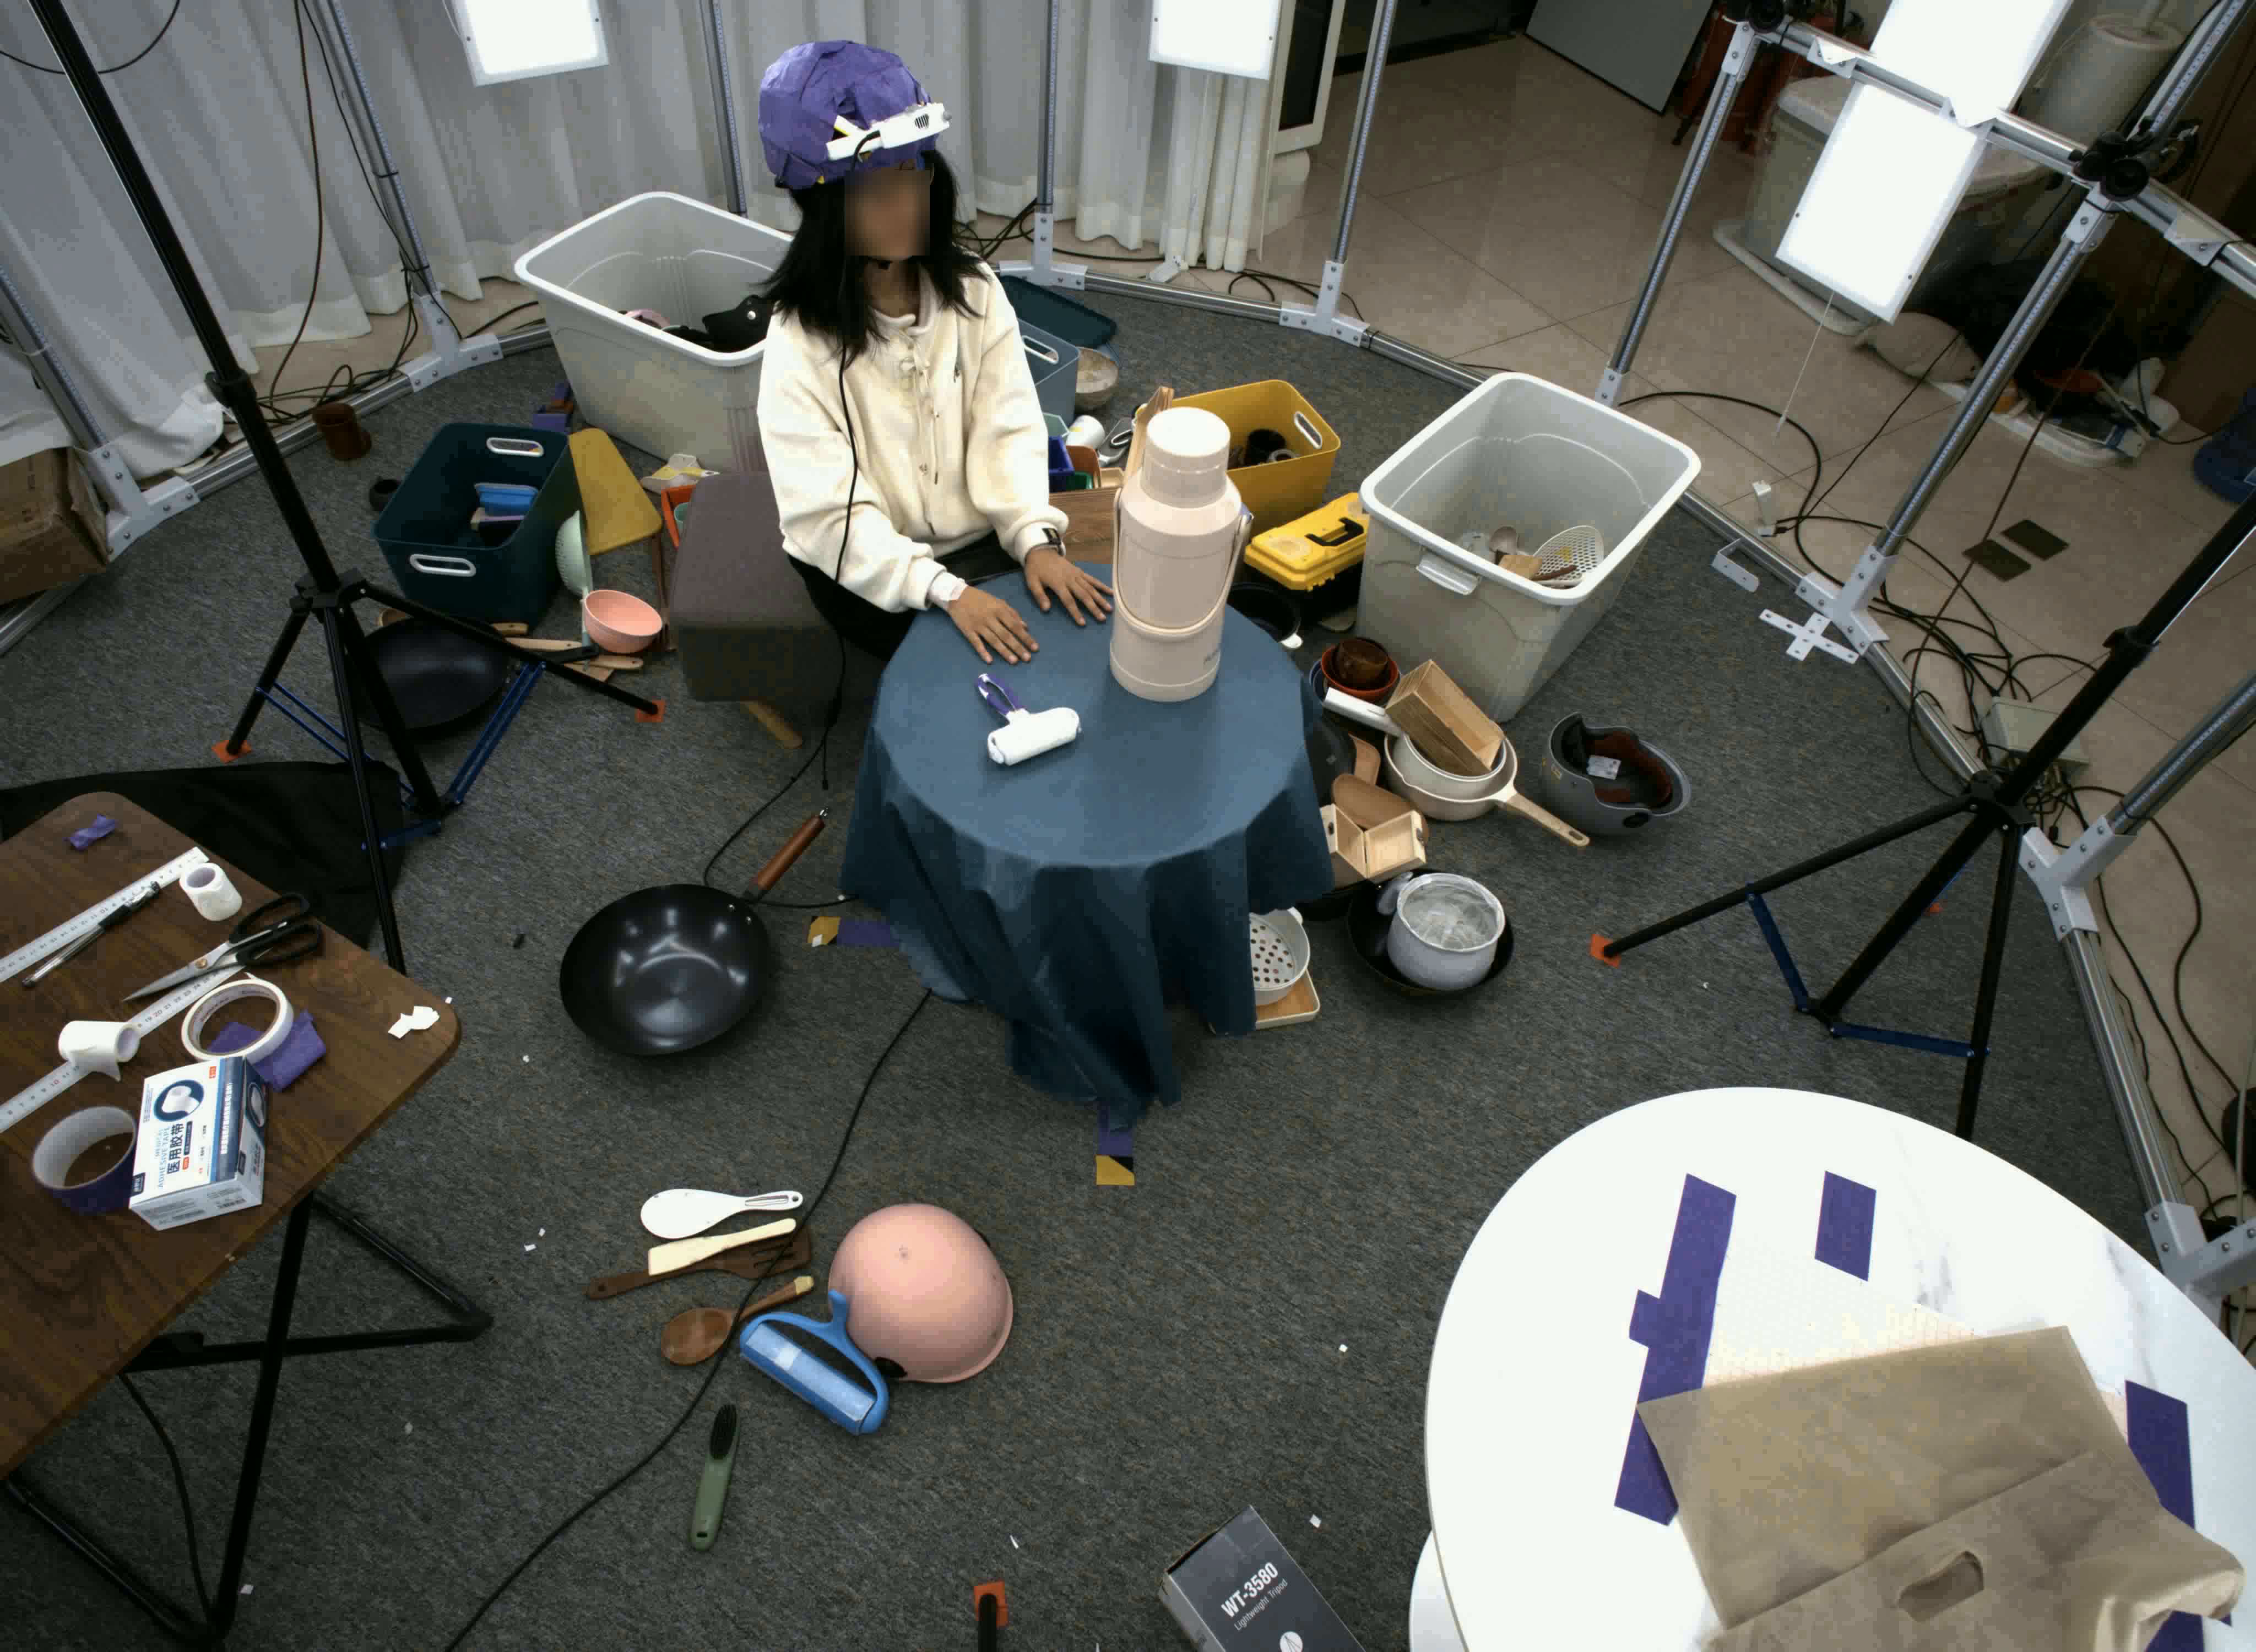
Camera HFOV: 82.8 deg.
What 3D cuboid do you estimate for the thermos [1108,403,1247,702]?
[{"bbox_3d":[0.068,-0.371,1.741,0.176,0.396,0.211,14,50,8],"label":"thermos"}]

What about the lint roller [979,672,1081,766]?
[{"bbox_3d":[-0.156,-0.166,1.773,0.133,0.049,0.184,-22,56,-20],"label":"lint roller"}]
